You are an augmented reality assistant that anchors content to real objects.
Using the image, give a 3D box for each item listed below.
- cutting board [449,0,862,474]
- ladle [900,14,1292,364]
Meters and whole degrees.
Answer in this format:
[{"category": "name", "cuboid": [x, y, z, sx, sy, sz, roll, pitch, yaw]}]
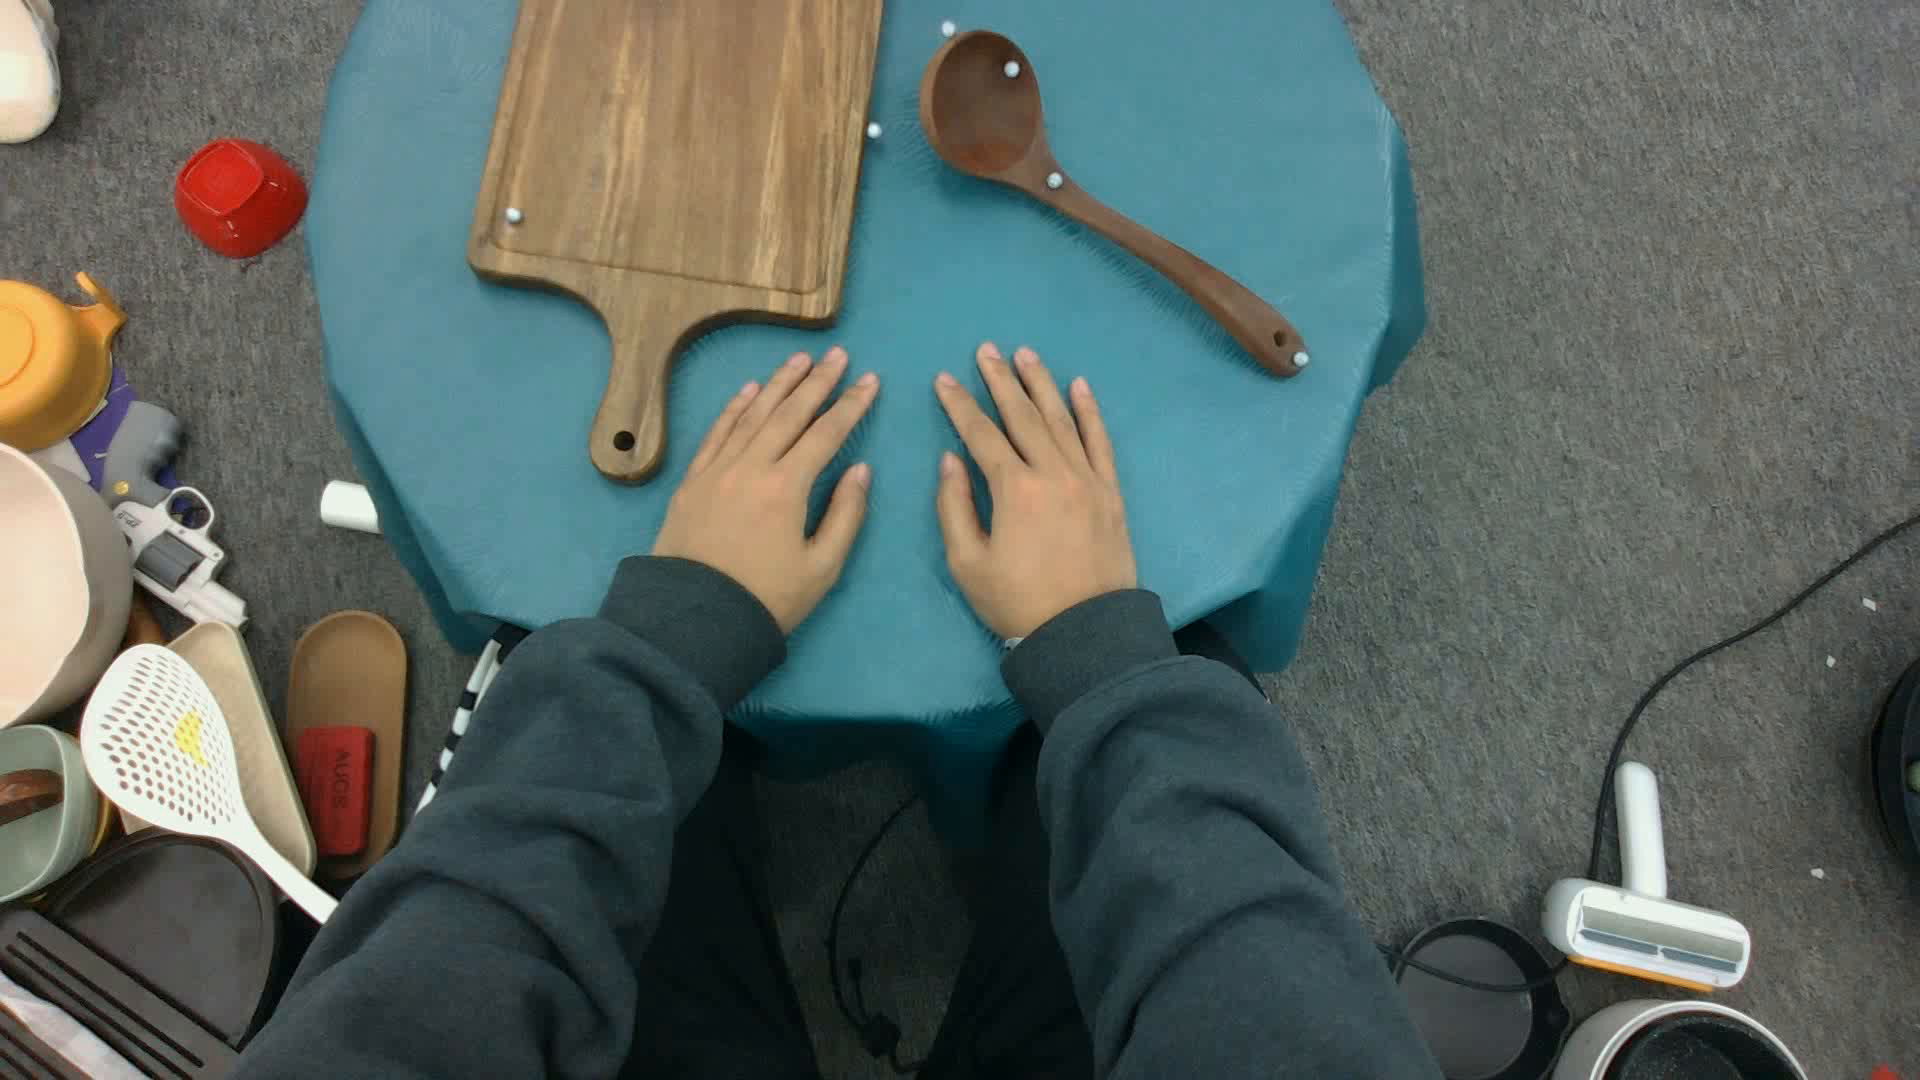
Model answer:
[{"category": "cutting board", "cuboid": [-0.165, -0.206, 0.746, 0.201, 0.023, 0.353, 7, 76, -2]}, {"category": "ladle", "cuboid": [0.078, -0.185, 0.741, 0.260, 0.065, 0.076, 38, 81, 4]}]
